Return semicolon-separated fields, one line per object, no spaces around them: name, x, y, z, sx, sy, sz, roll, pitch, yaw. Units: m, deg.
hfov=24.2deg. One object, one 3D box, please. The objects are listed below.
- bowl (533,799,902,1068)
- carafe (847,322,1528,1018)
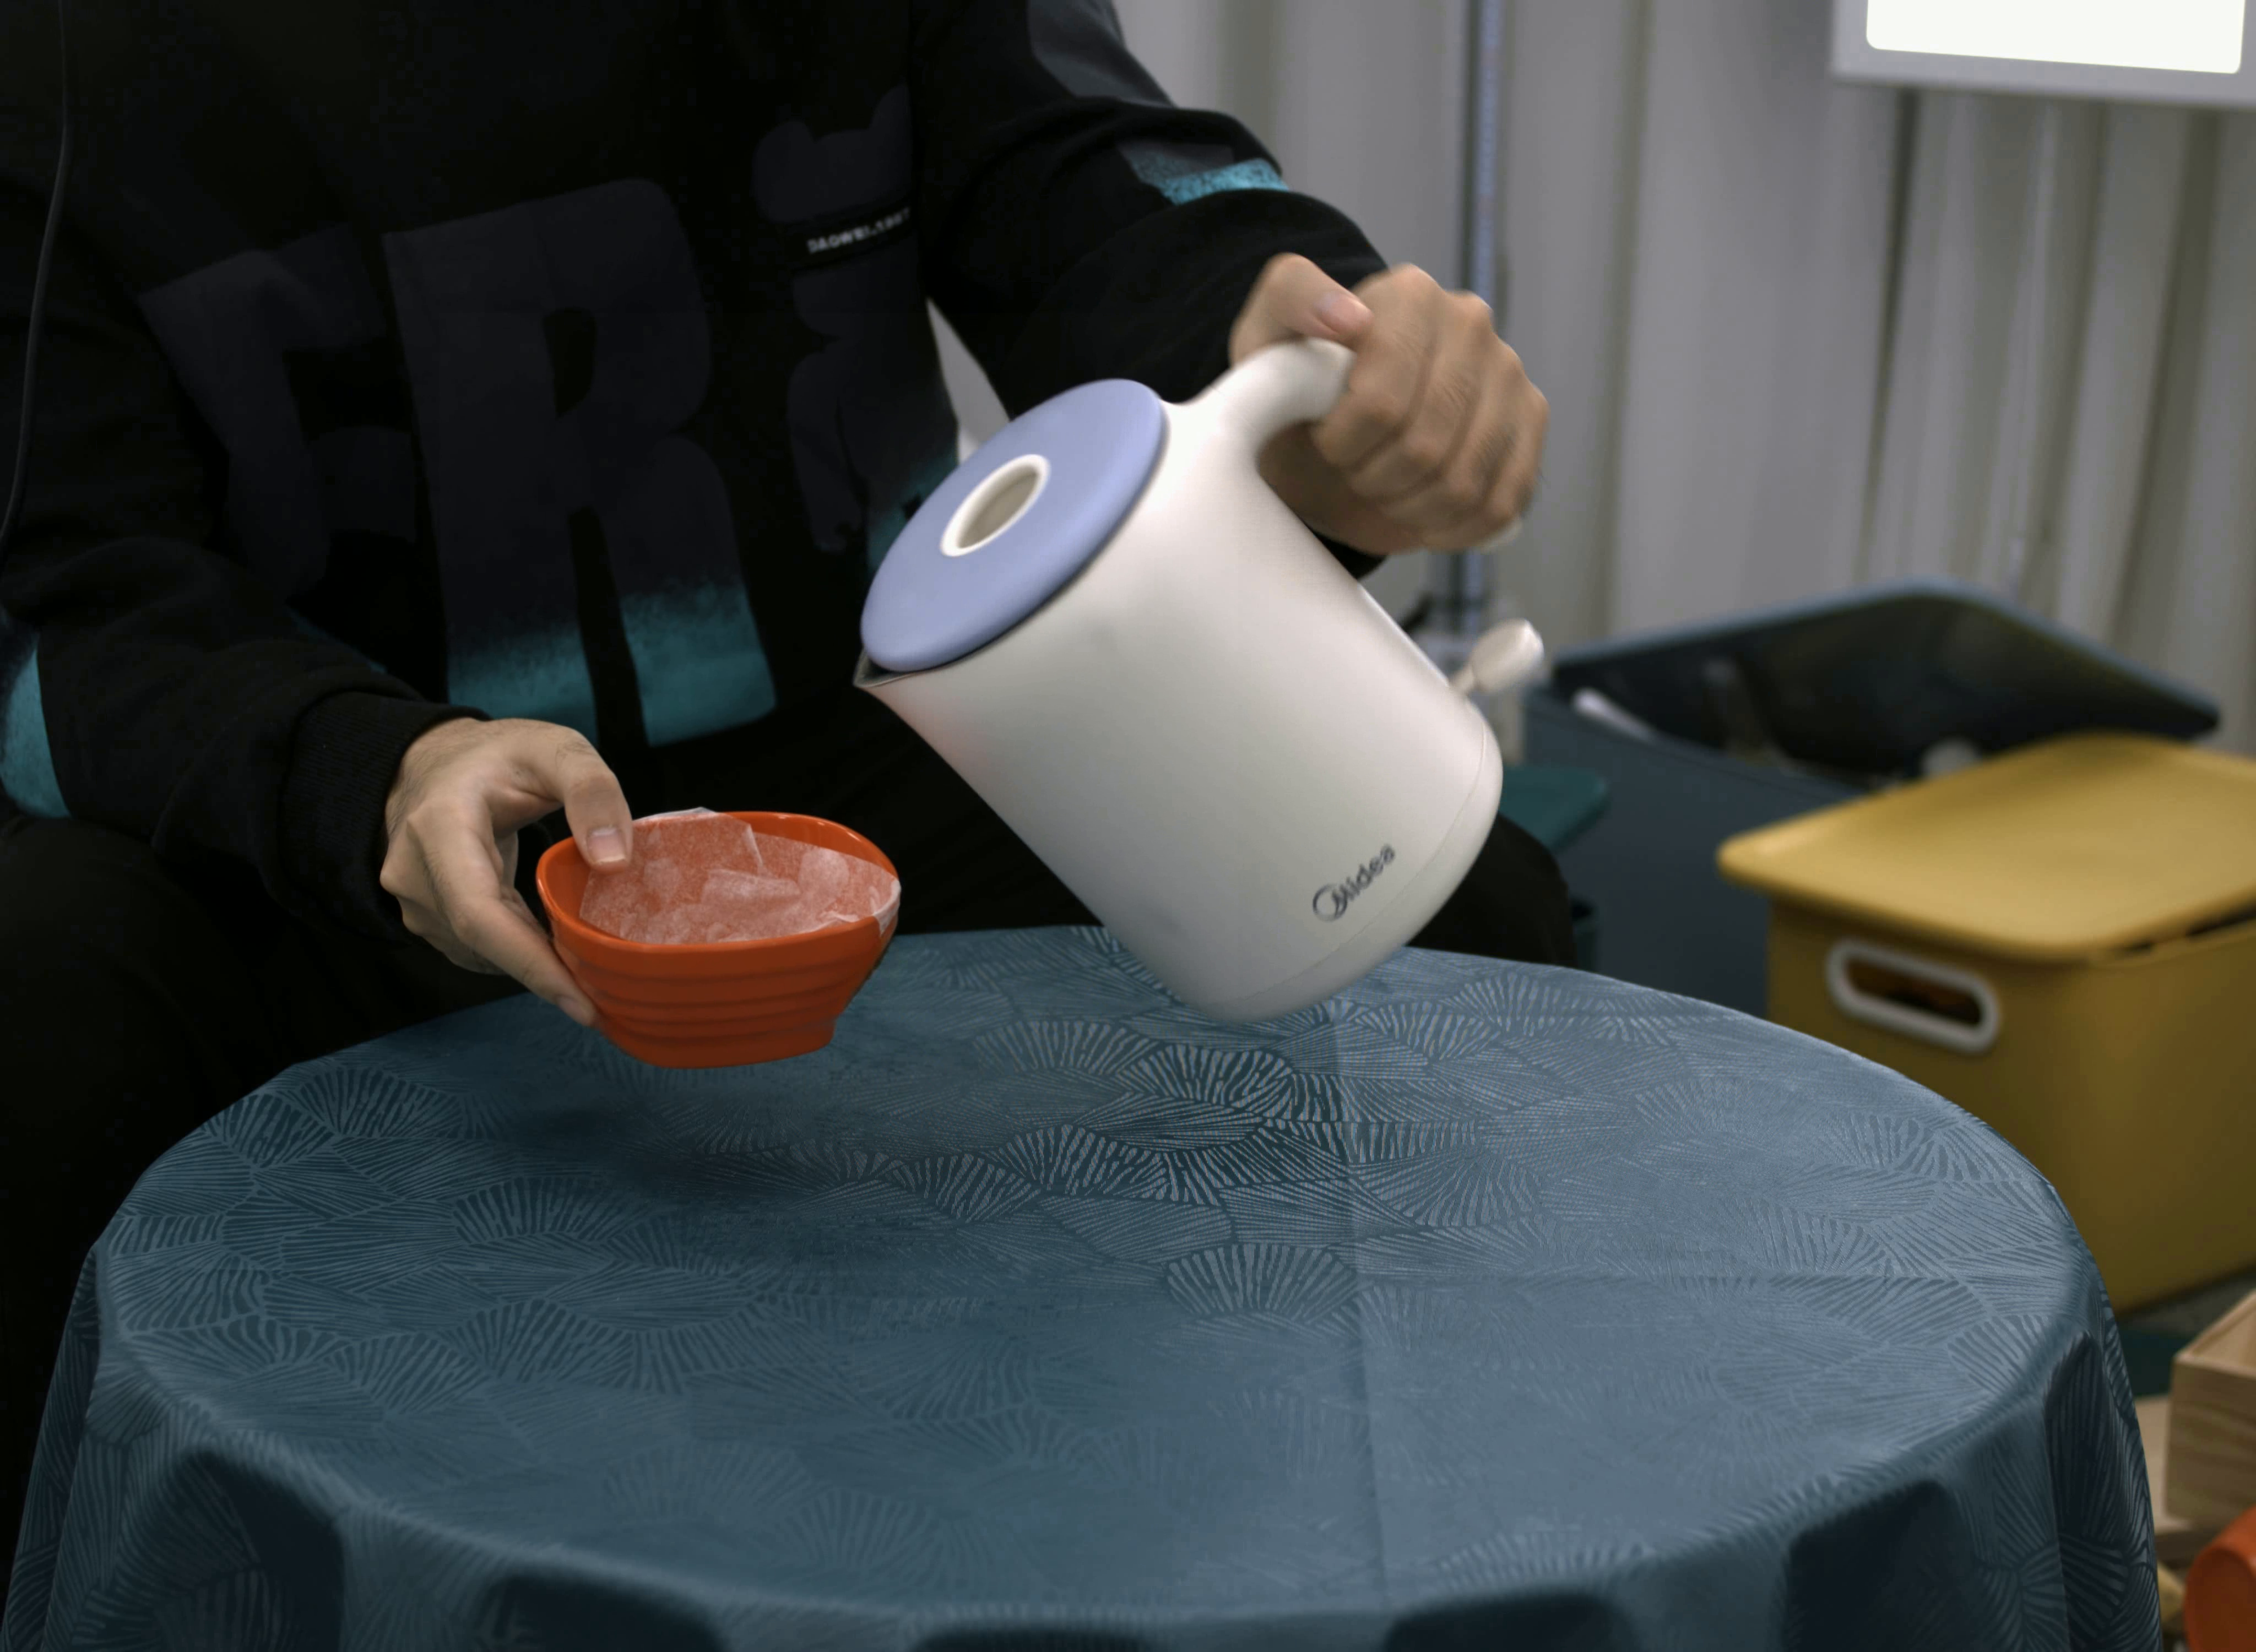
bowl;-0.126;0.036;1.622;0.118;0.052;0.118;0;24;1
carafe;0.032;-0.058;1.626;0.191;0.184;0.131;-43;26;-1
